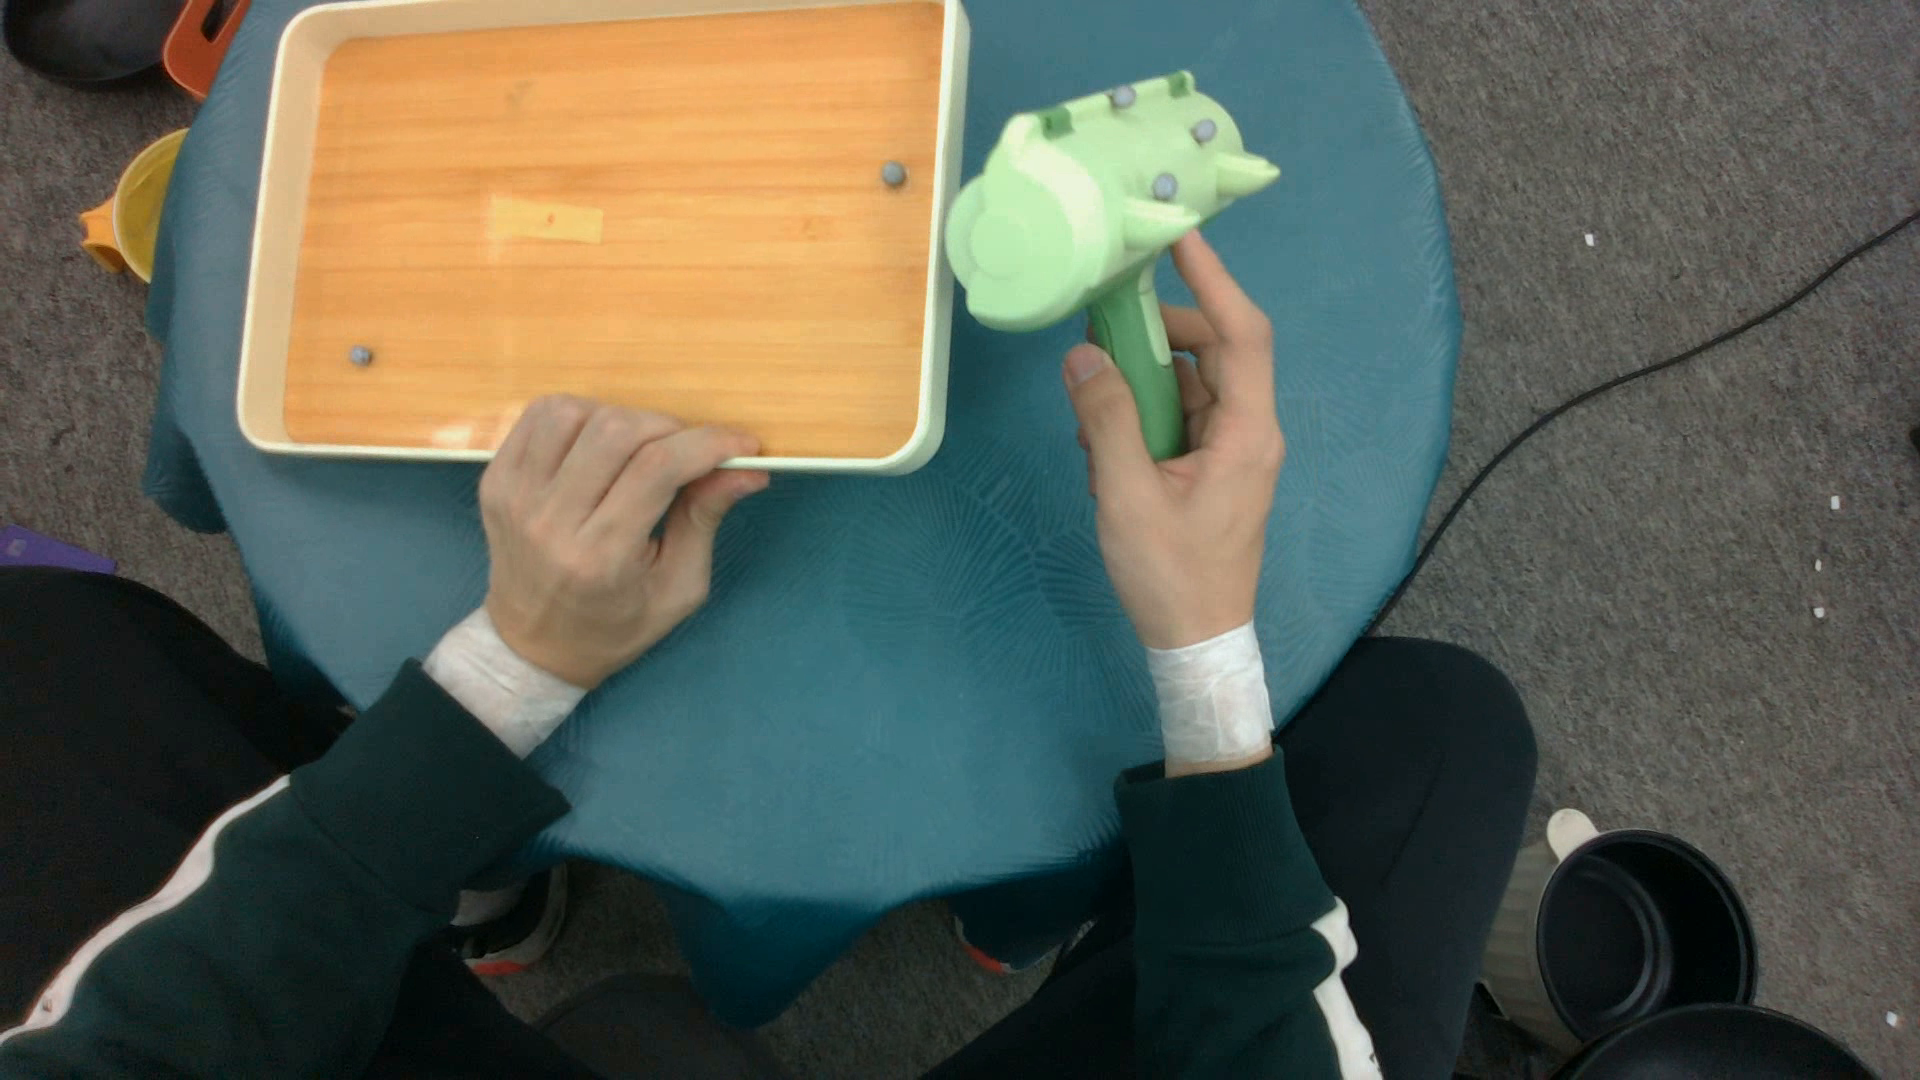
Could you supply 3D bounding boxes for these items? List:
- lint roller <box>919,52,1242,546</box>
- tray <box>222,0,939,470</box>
[{"bbox_3d":[0.069,-0.088,0.522,0.082,0.199,0.183,-13,105,28],"label":"lint roller"},{"bbox_3d":[-0.156,-0.123,0.546,0.300,0.027,0.191,1,87,15],"label":"tray"}]
